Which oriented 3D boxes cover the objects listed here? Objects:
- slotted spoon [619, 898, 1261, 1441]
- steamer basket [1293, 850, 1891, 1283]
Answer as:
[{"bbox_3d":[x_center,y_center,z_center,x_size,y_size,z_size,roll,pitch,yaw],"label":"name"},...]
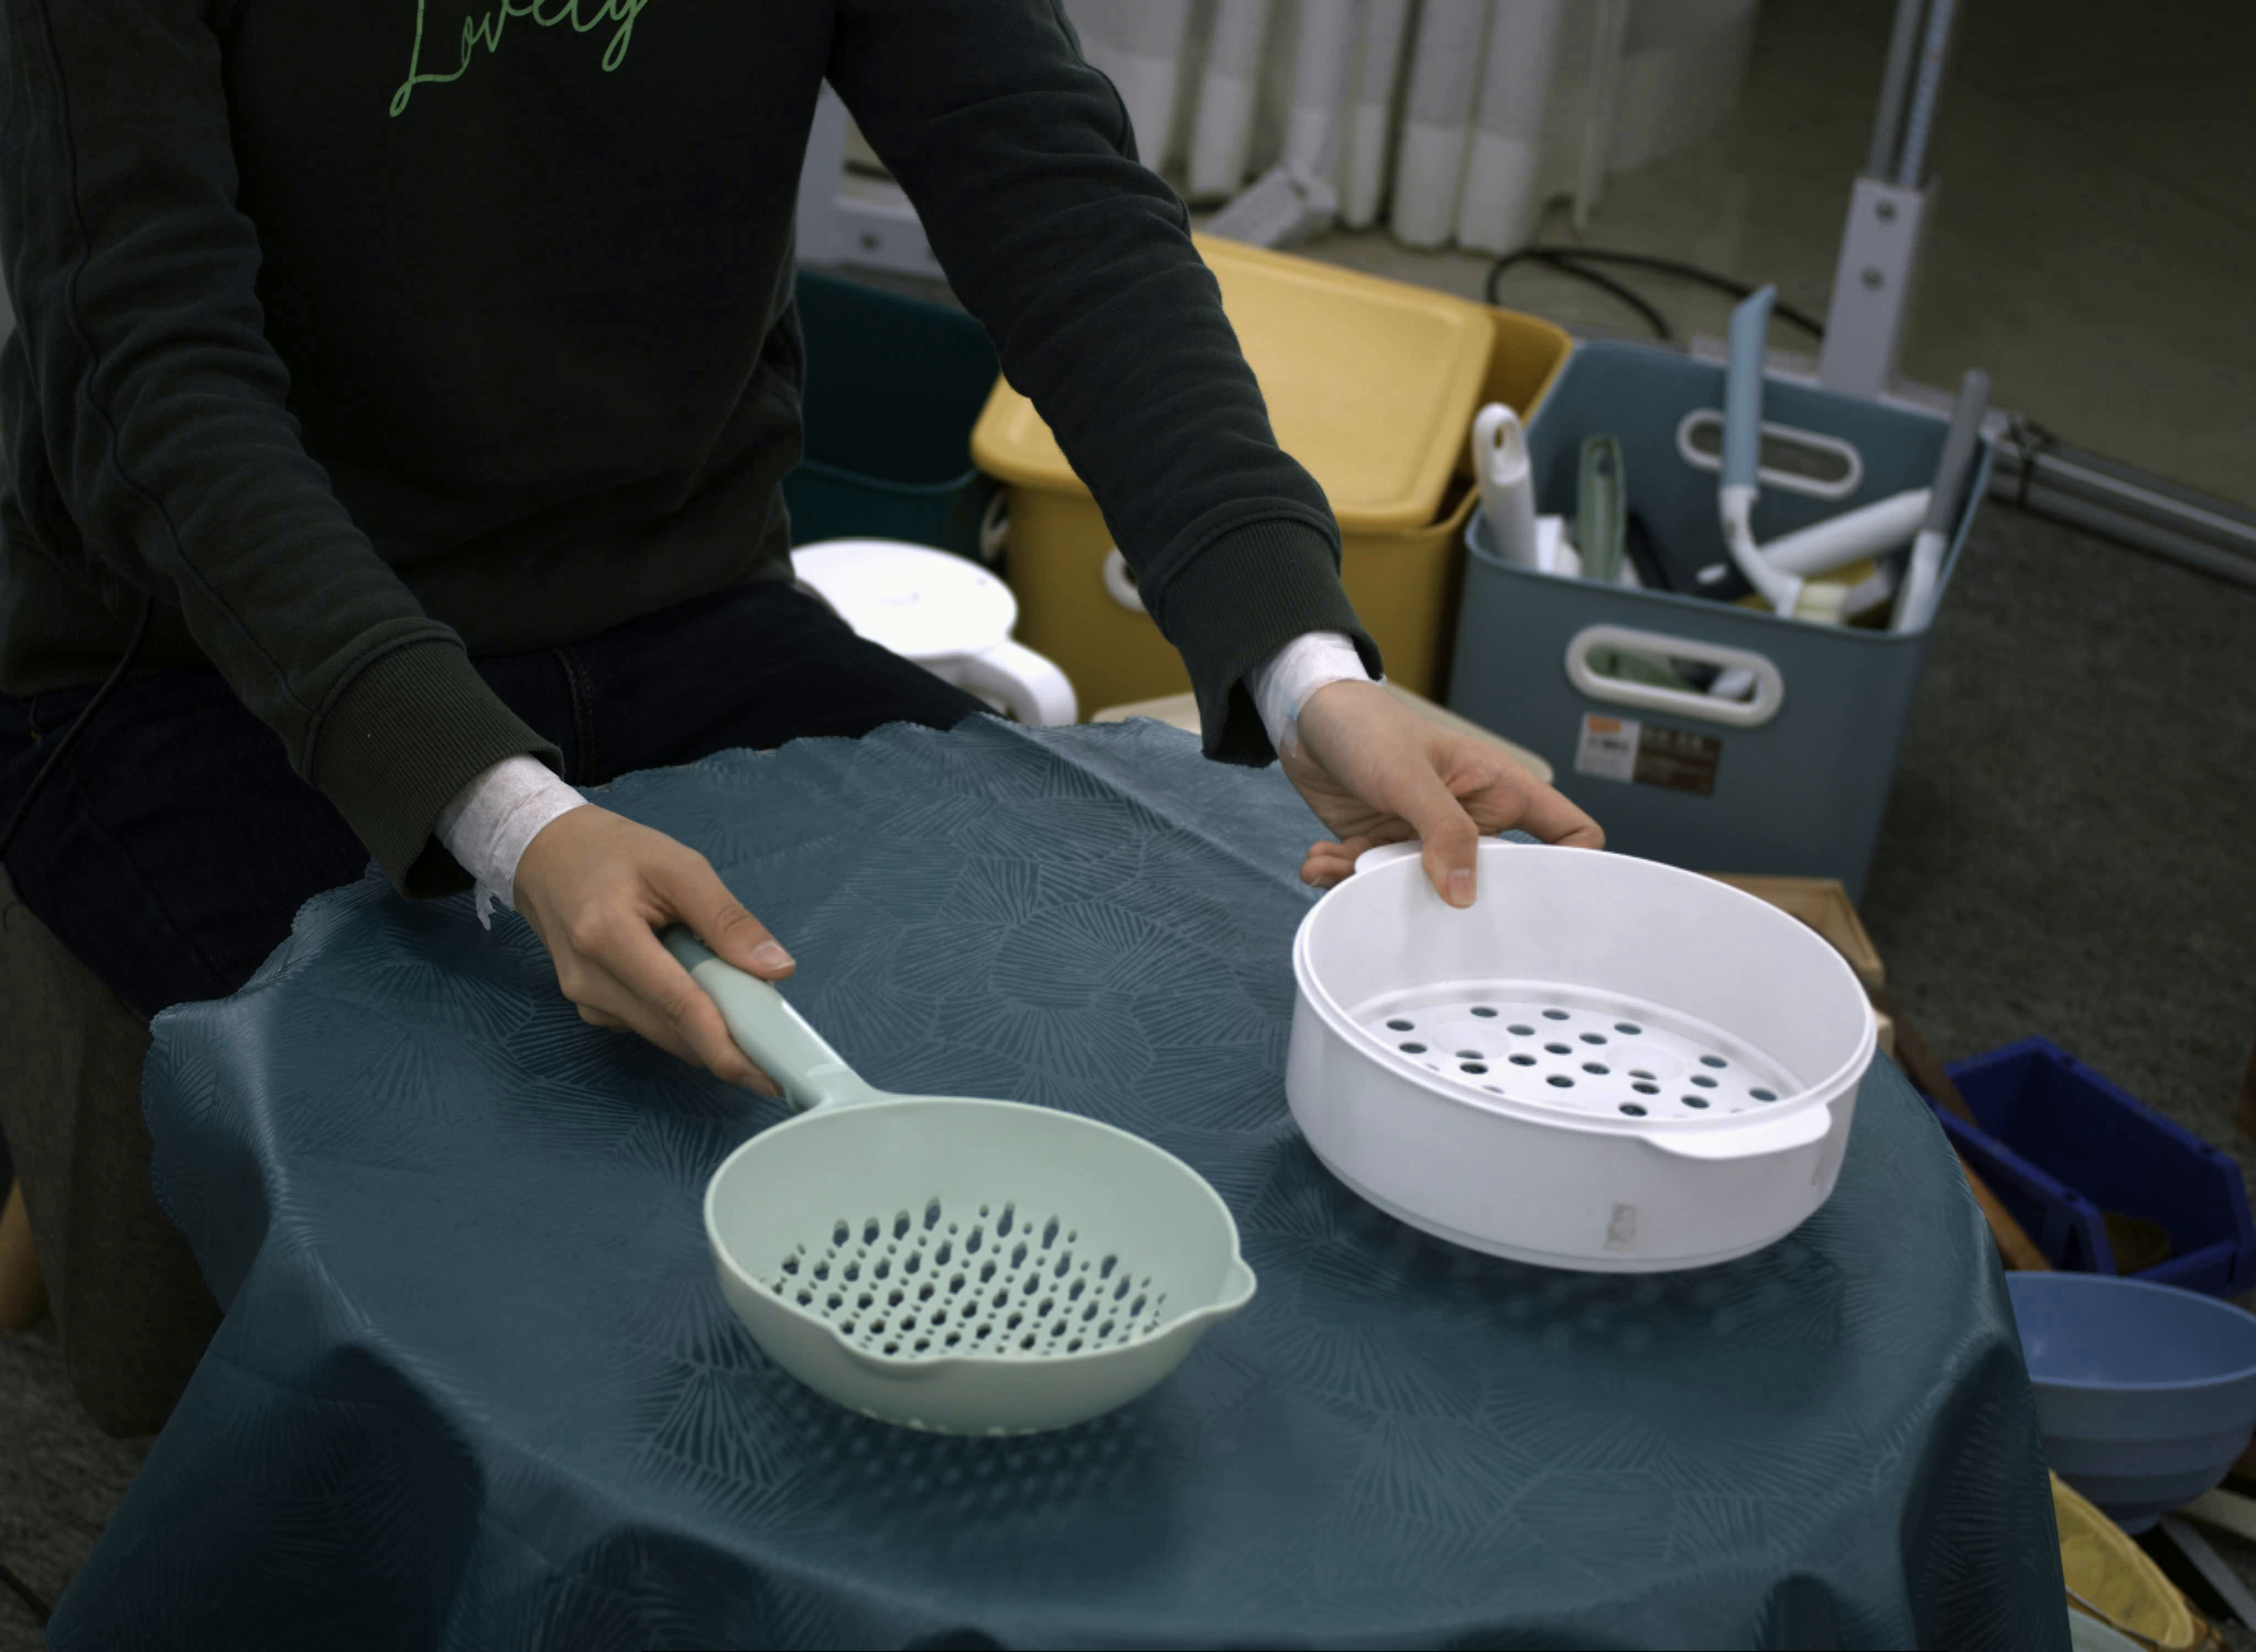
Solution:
[{"bbox_3d":[-0.094,0.096,1.745,0.168,0.075,0.362,-7,34,-27],"label":"slotted spoon"},{"bbox_3d":[0.155,0.083,1.811,0.200,0.069,0.232,-7,28,-28],"label":"steamer basket"}]
